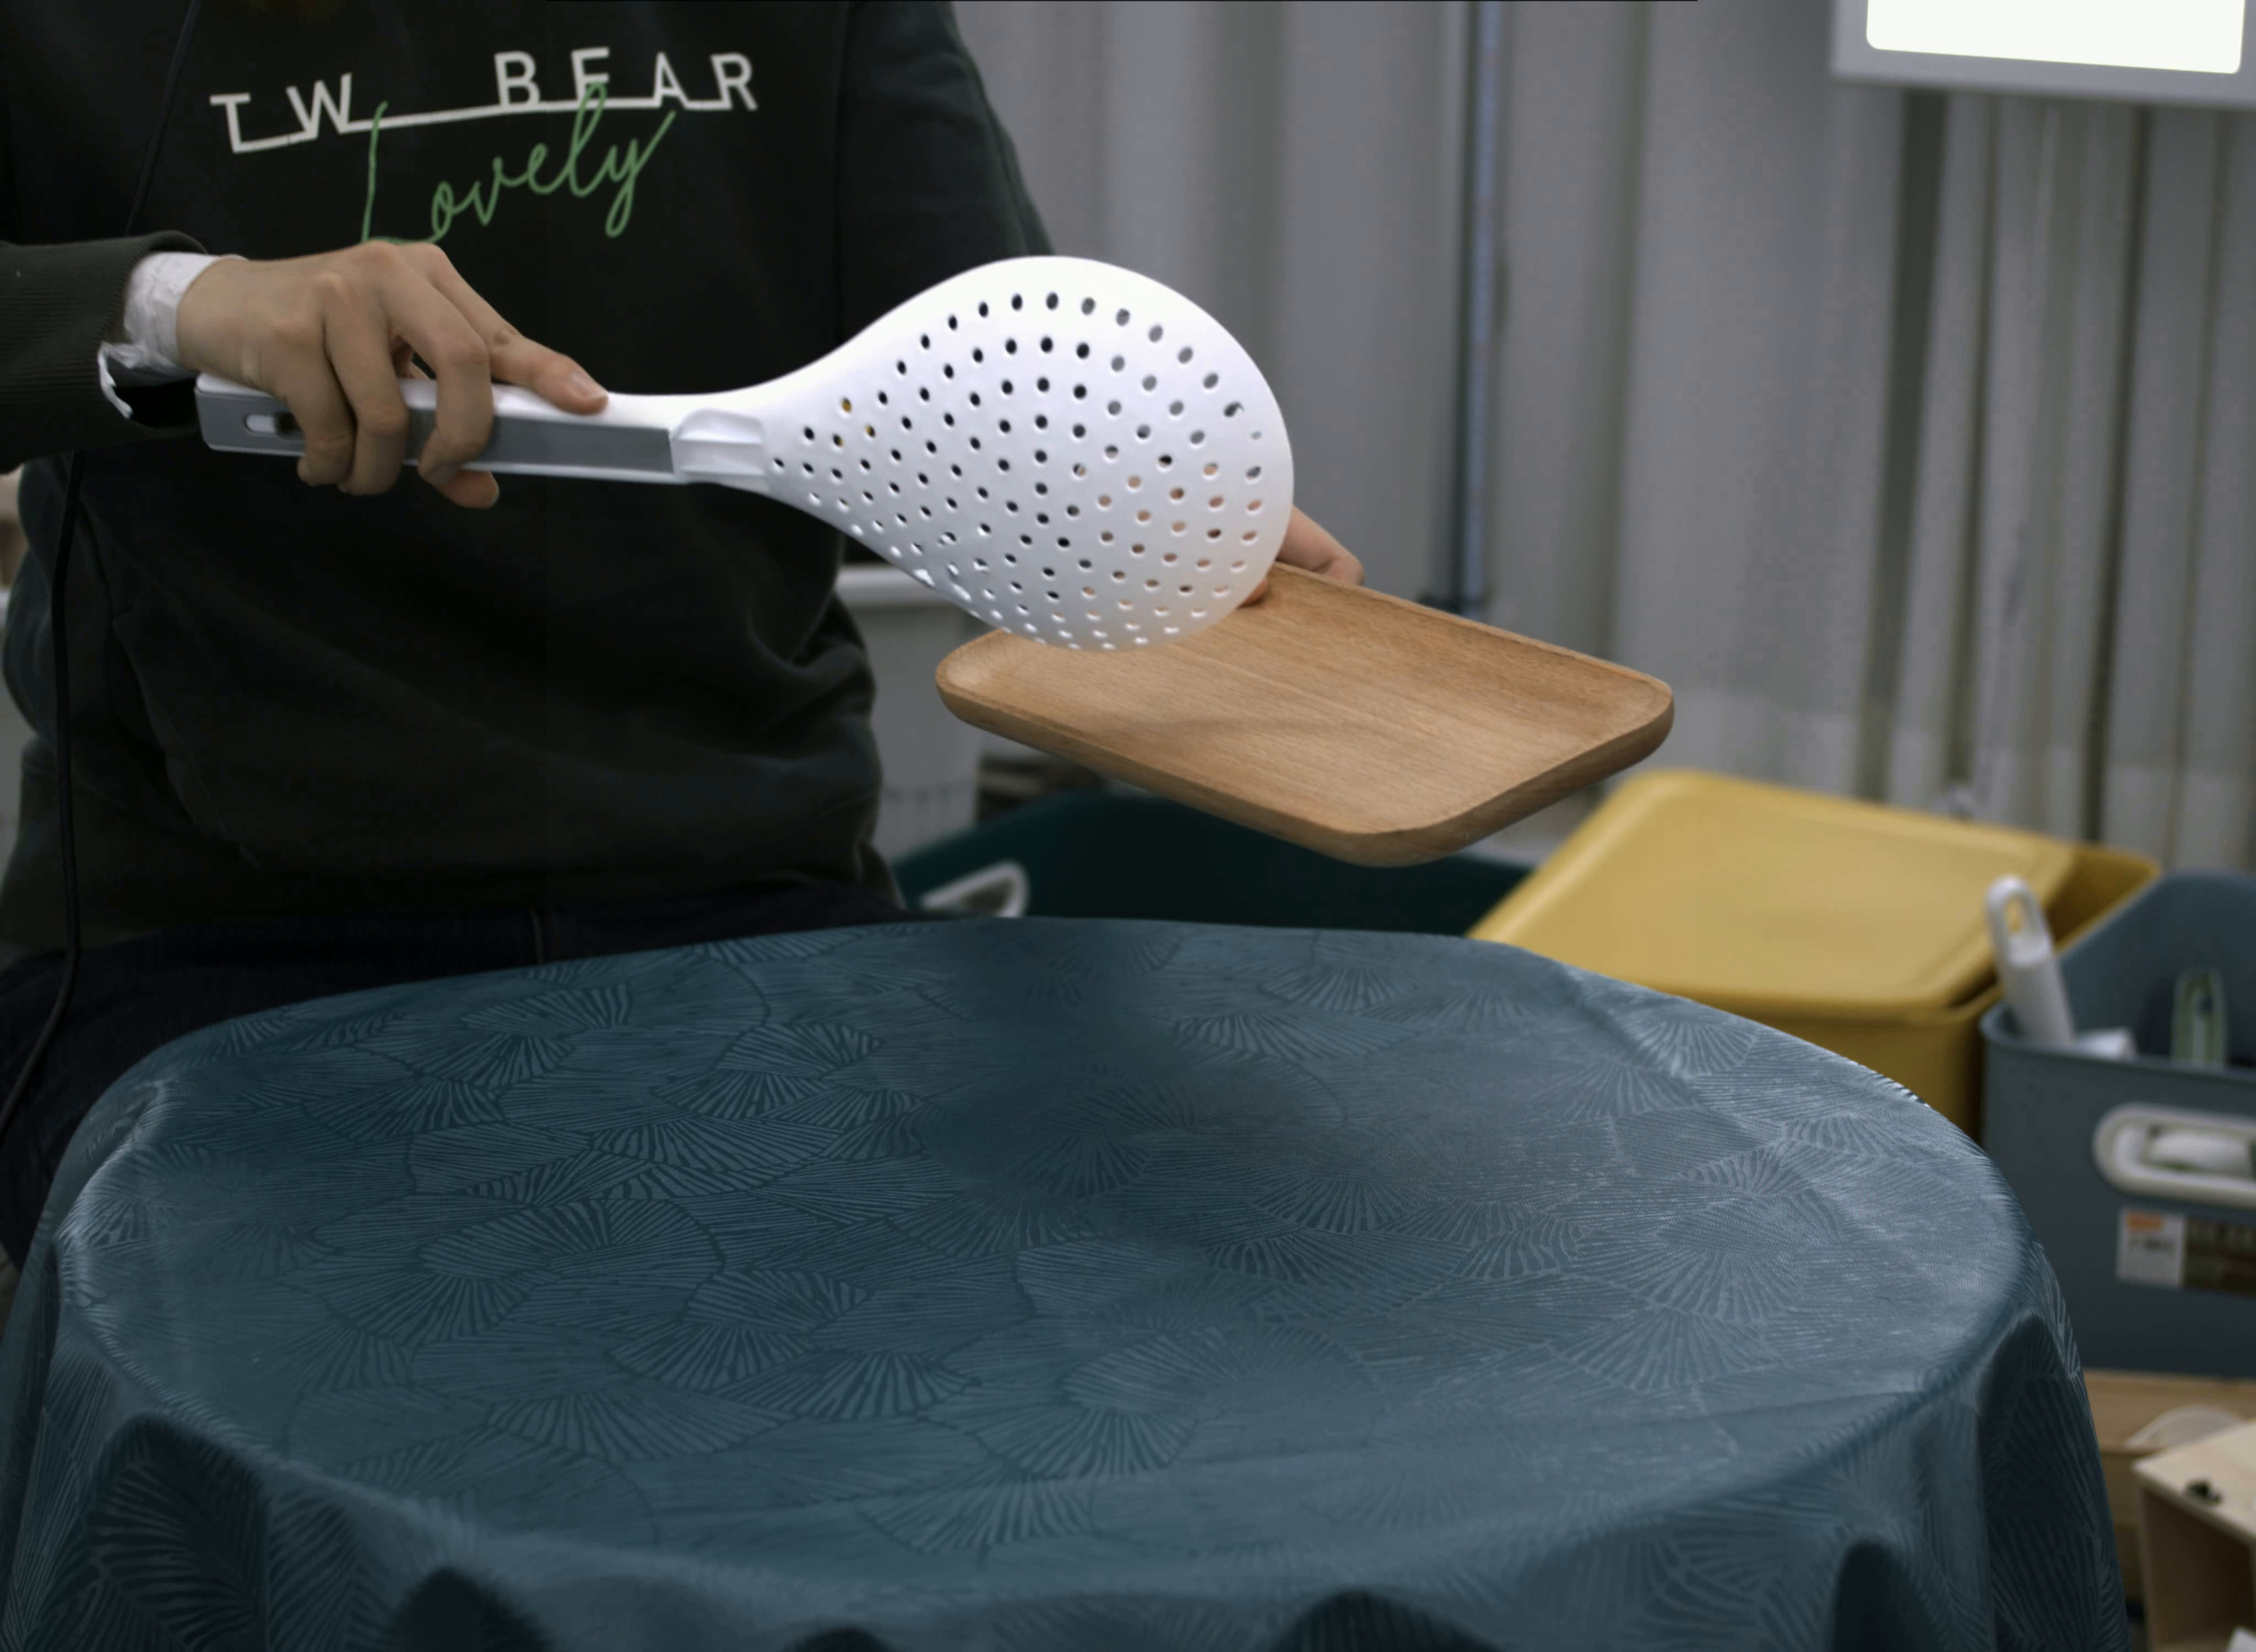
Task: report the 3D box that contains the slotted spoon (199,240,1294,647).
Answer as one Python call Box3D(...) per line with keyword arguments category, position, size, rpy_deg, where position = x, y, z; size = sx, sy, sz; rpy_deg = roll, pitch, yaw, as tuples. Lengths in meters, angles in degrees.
Box3D(category="slotted spoon", position=(-0.122, -0.121, 1.616), size=(0.347, 0.137, 0.045), rpy_deg=(8, 32, 16))

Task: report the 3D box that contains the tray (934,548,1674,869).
Box3D(category="tray", position=(0.051, -0.039, 1.631), size=(0.131, 0.023, 0.247), rpy_deg=(-23, 25, -31))
